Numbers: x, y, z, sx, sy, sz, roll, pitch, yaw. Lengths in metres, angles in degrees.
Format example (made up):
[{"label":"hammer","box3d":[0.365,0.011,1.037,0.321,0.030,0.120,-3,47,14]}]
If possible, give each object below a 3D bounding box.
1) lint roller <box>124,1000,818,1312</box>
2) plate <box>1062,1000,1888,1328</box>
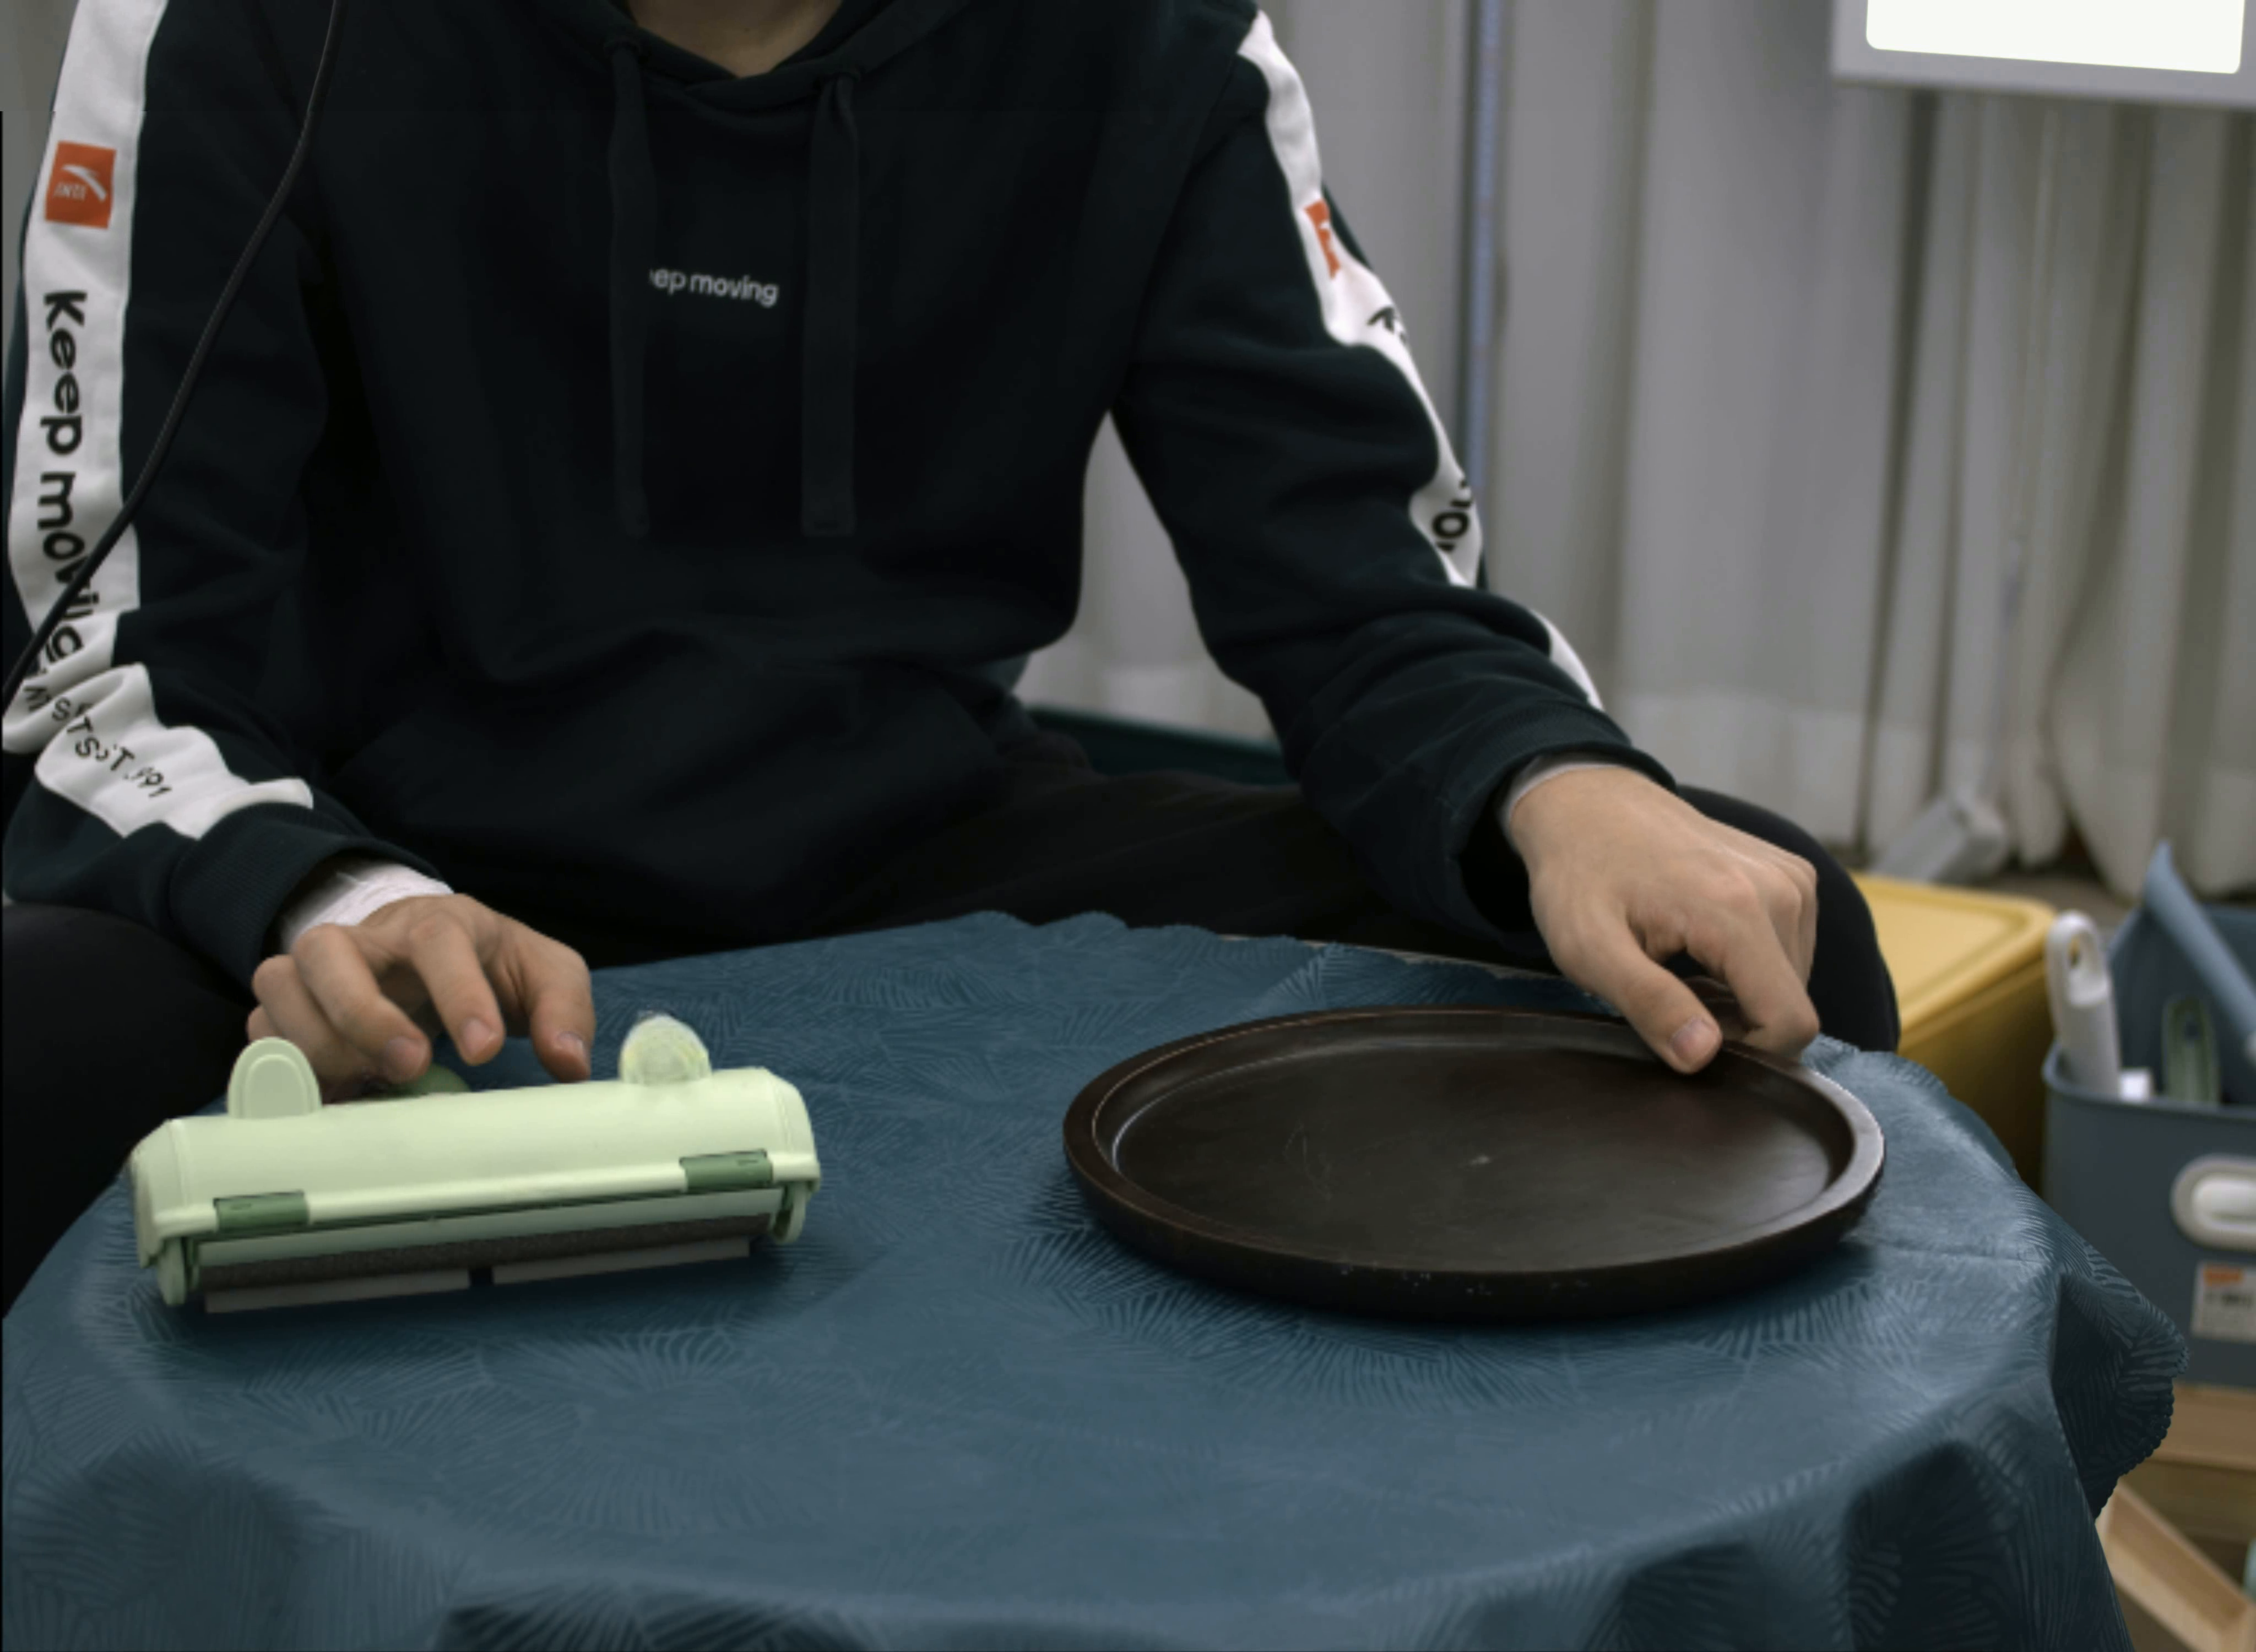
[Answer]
[{"label":"lint roller","box3d":[-0.207,0.080,1.577,0.199,0.083,0.181,-4,20,-17]},{"label":"plate","box3d":[0.106,0.102,1.615,0.254,0.029,0.253,0,17,1]}]
